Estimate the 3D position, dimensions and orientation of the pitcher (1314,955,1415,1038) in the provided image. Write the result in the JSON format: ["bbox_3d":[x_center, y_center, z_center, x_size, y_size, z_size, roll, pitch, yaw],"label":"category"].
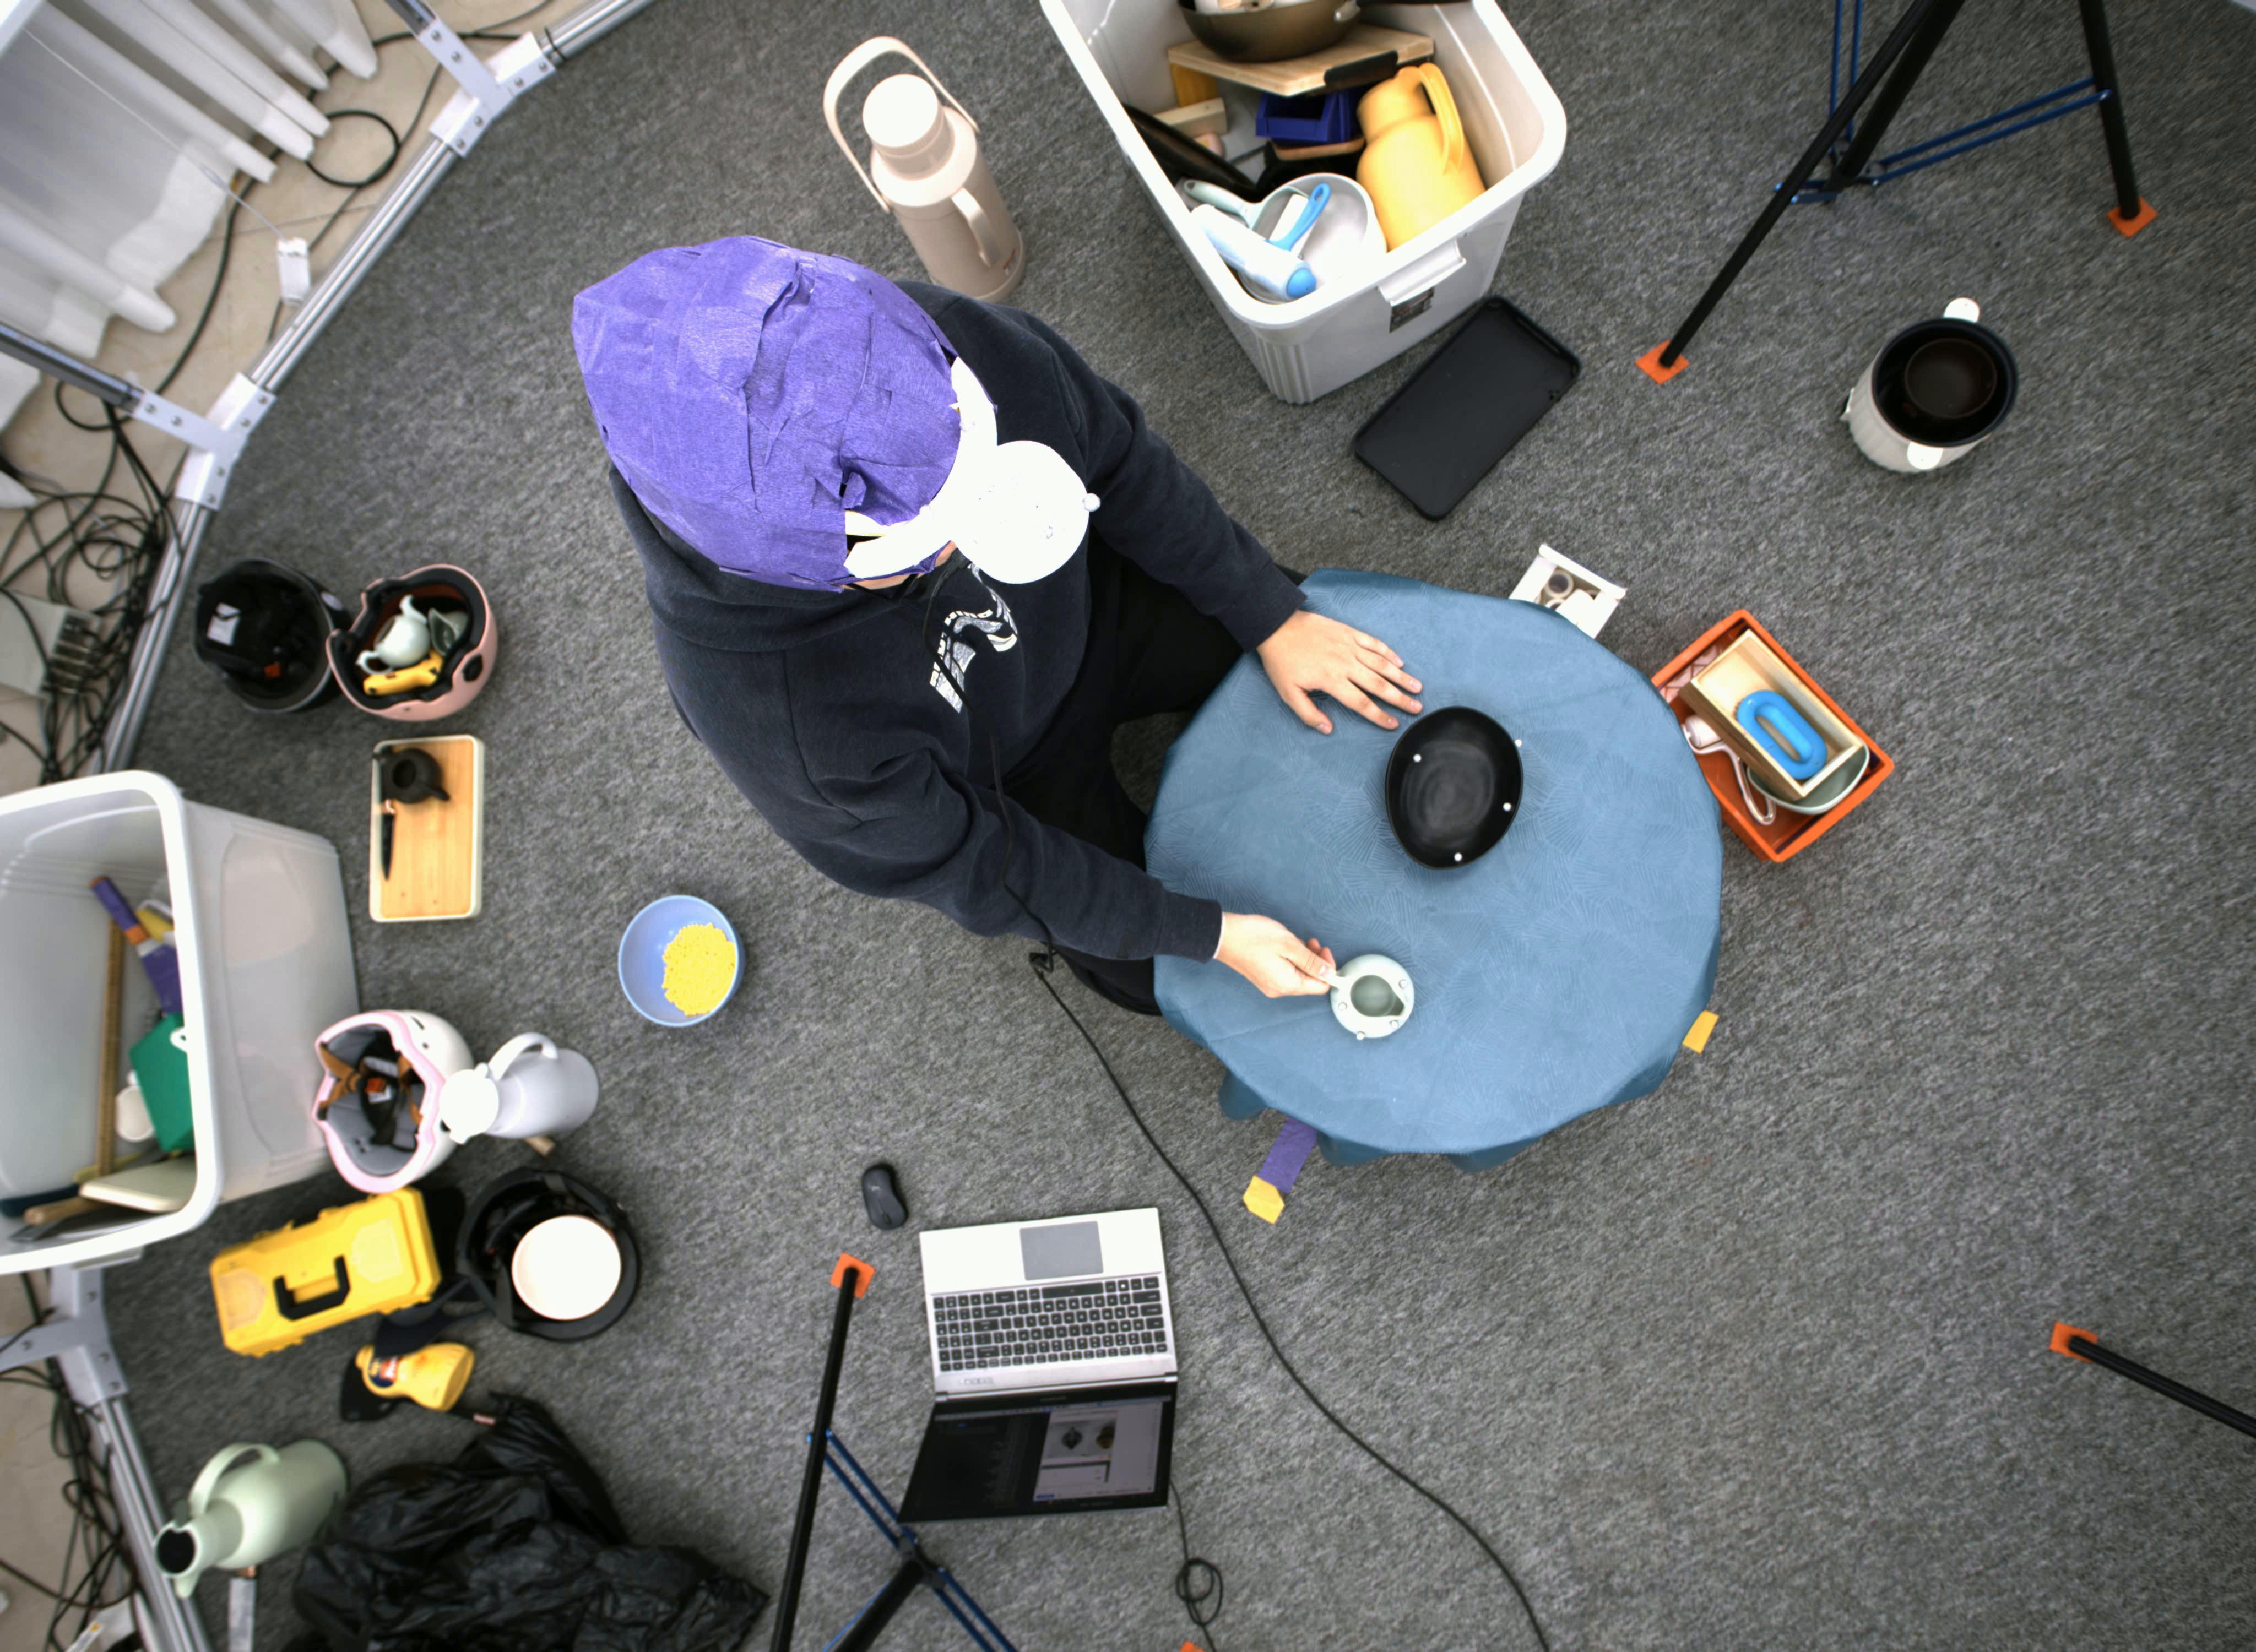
[{"bbox_3d":[0.243,0.170,1.432,0.108,0.060,0.086,22,89,13],"label":"pitcher"}]

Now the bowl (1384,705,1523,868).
[{"bbox_3d":[0.335,-0.039,1.423,0.137,0.066,0.170,12,89,12],"label":"bowl"}]
